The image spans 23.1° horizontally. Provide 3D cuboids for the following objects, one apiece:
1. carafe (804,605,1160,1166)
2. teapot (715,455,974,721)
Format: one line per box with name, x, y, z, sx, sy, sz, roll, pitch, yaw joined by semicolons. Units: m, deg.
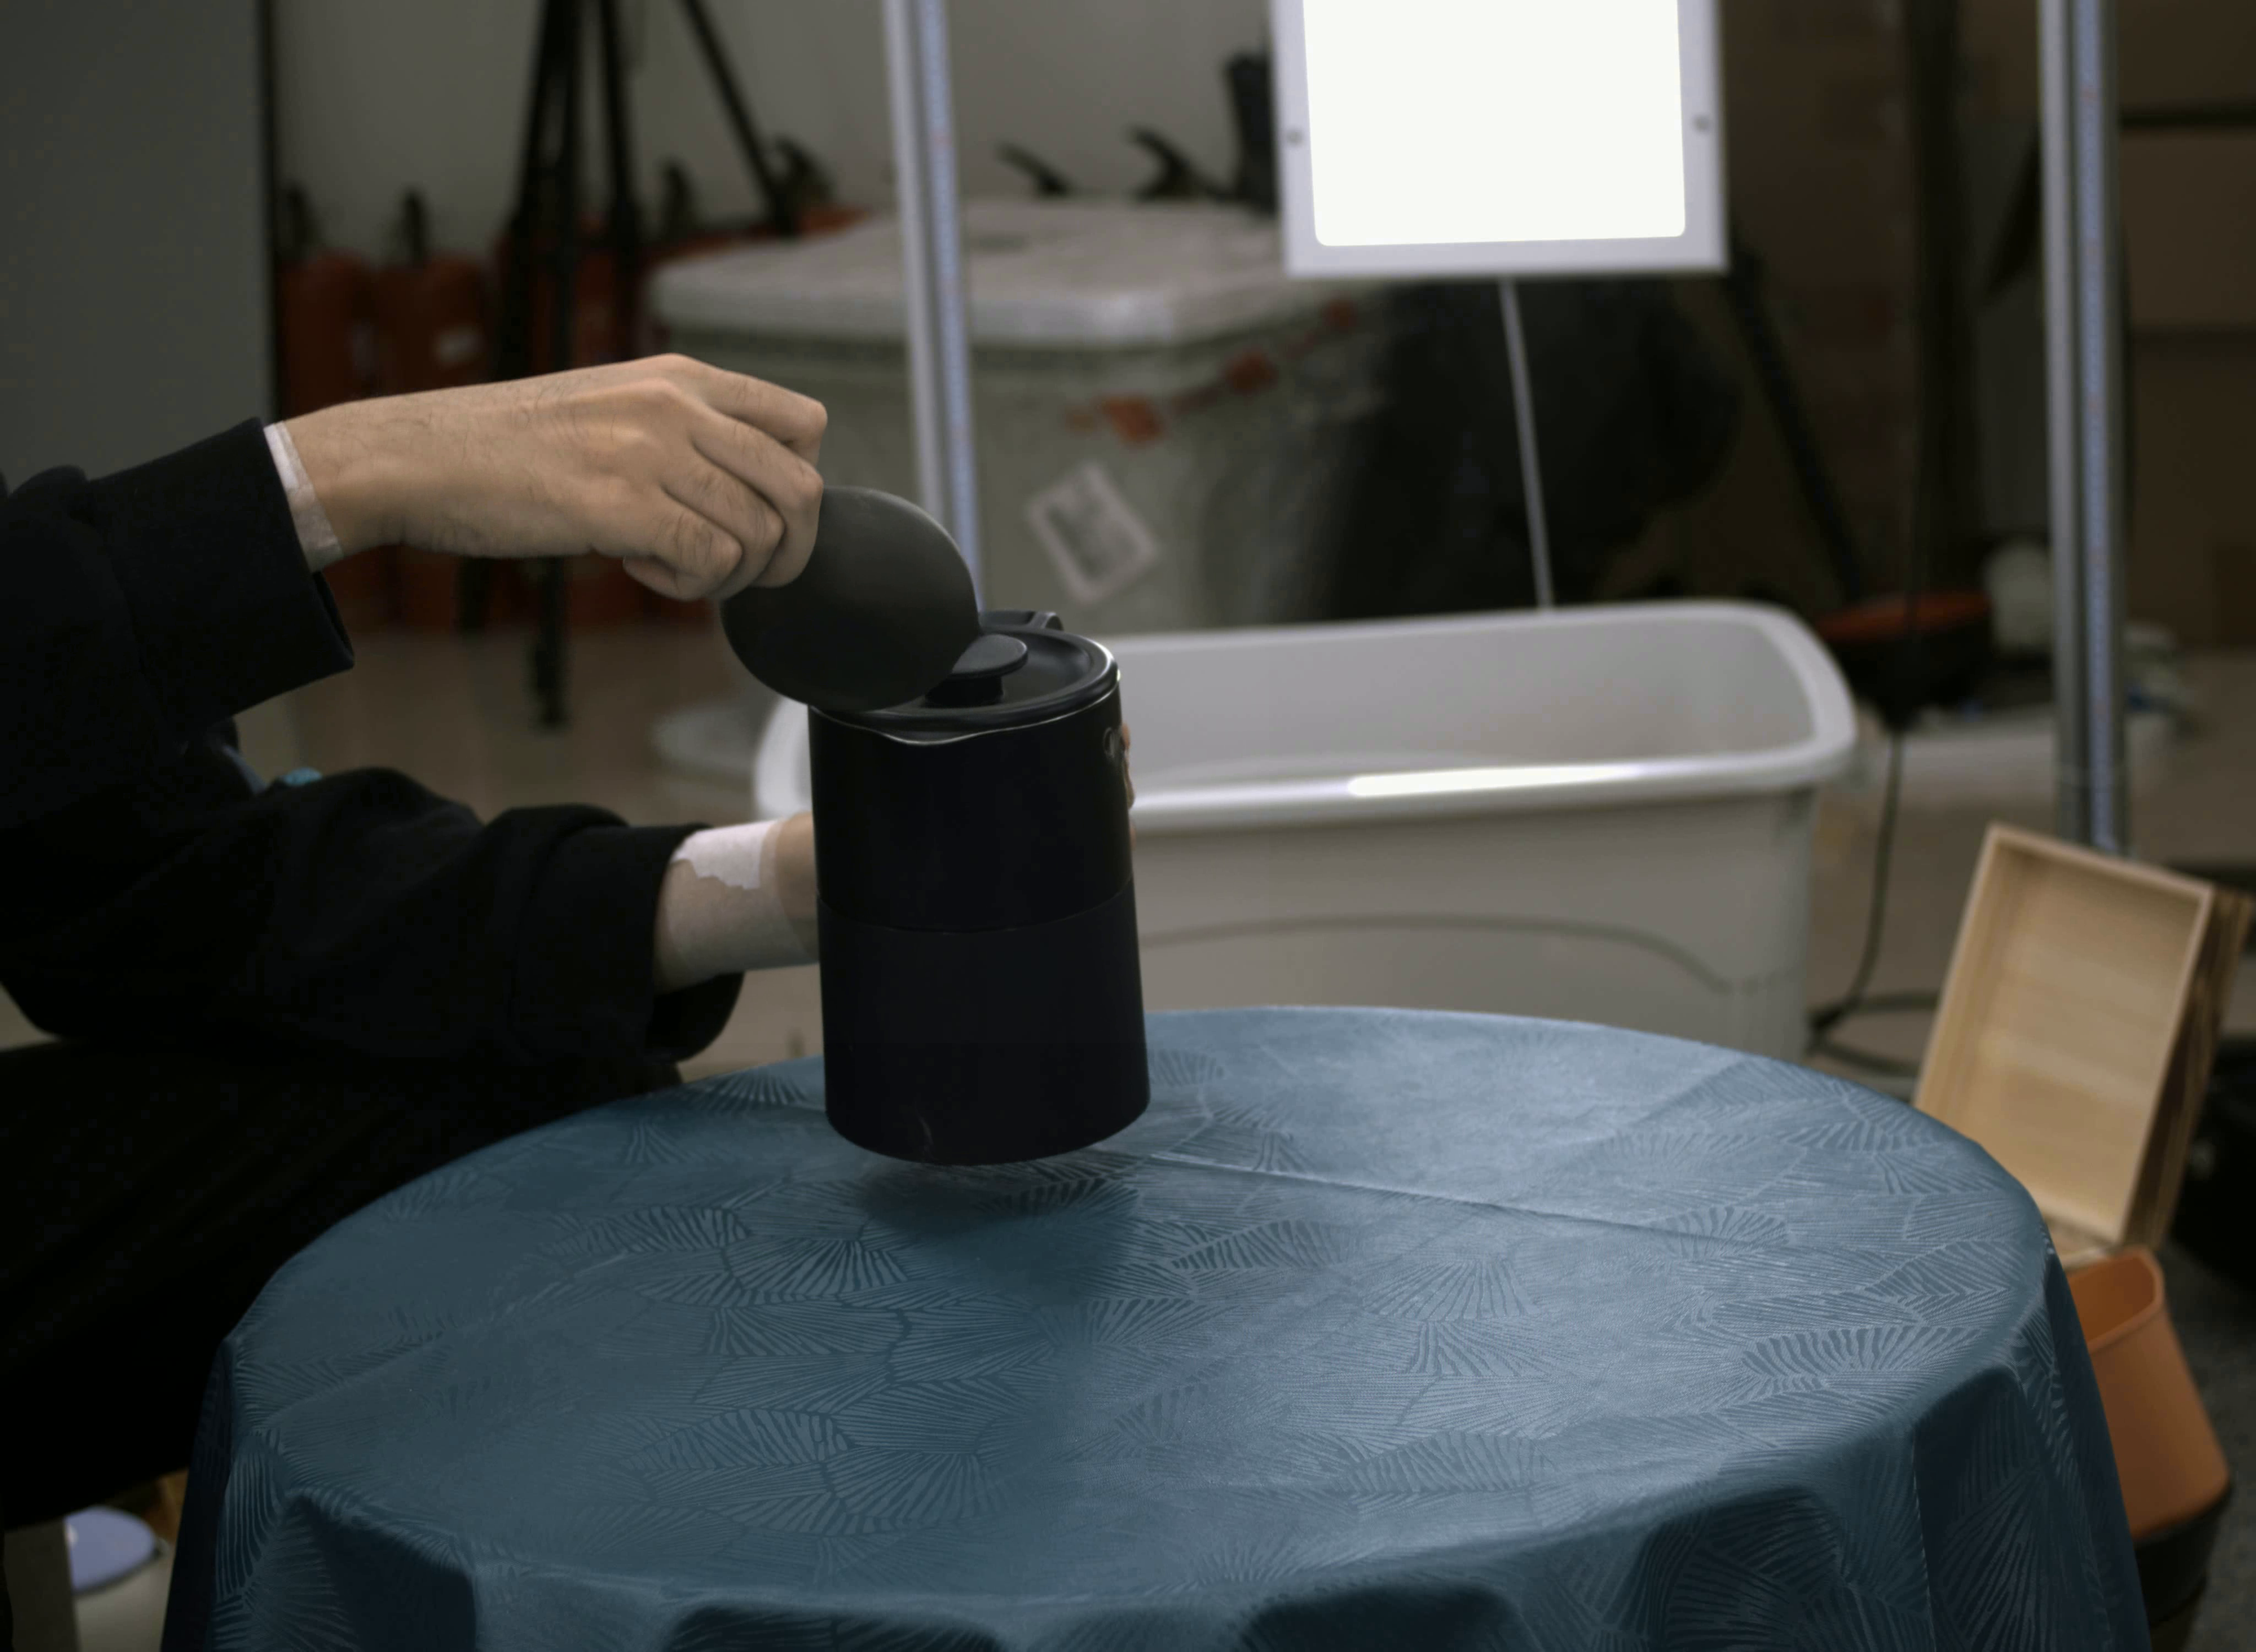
carafe;-0.049;0.010;1.916;0.115;0.174;0.170;-1;21;11
teapot;-0.097;-0.078;1.759;0.084;0.112;0.052;-14;48;31
